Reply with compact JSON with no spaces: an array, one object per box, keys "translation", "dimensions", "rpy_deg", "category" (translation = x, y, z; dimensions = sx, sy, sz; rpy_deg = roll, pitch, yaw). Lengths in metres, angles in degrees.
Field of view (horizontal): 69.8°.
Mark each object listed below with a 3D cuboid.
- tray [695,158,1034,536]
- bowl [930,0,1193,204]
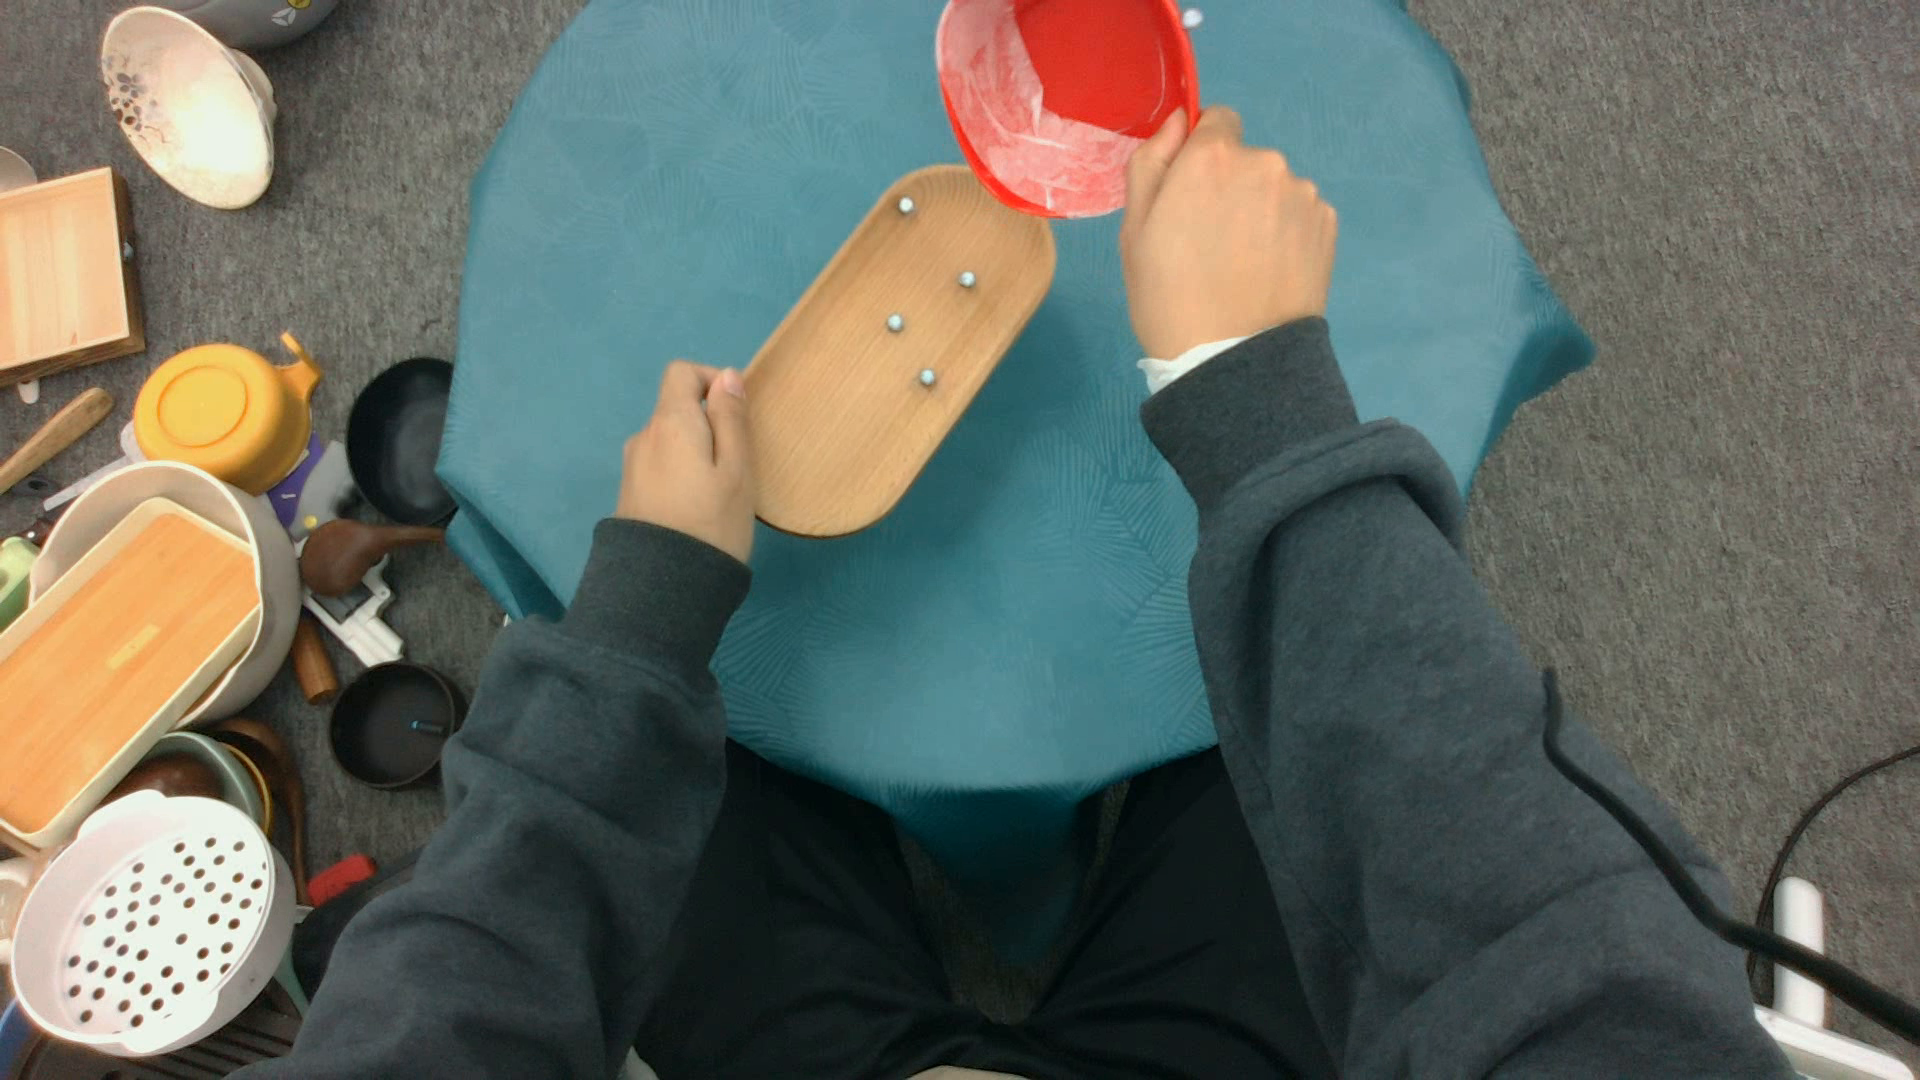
[{"translation":[-0.045,-0.101,0.696],"dimensions":[0.101,0.020,0.232],"rpy_deg":[31,70,3],"category":"tray"},{"translation":[0.049,-0.207,0.596],"dimensions":[0.119,0.118,0.051],"rpy_deg":[22,34,8],"category":"bowl"}]
